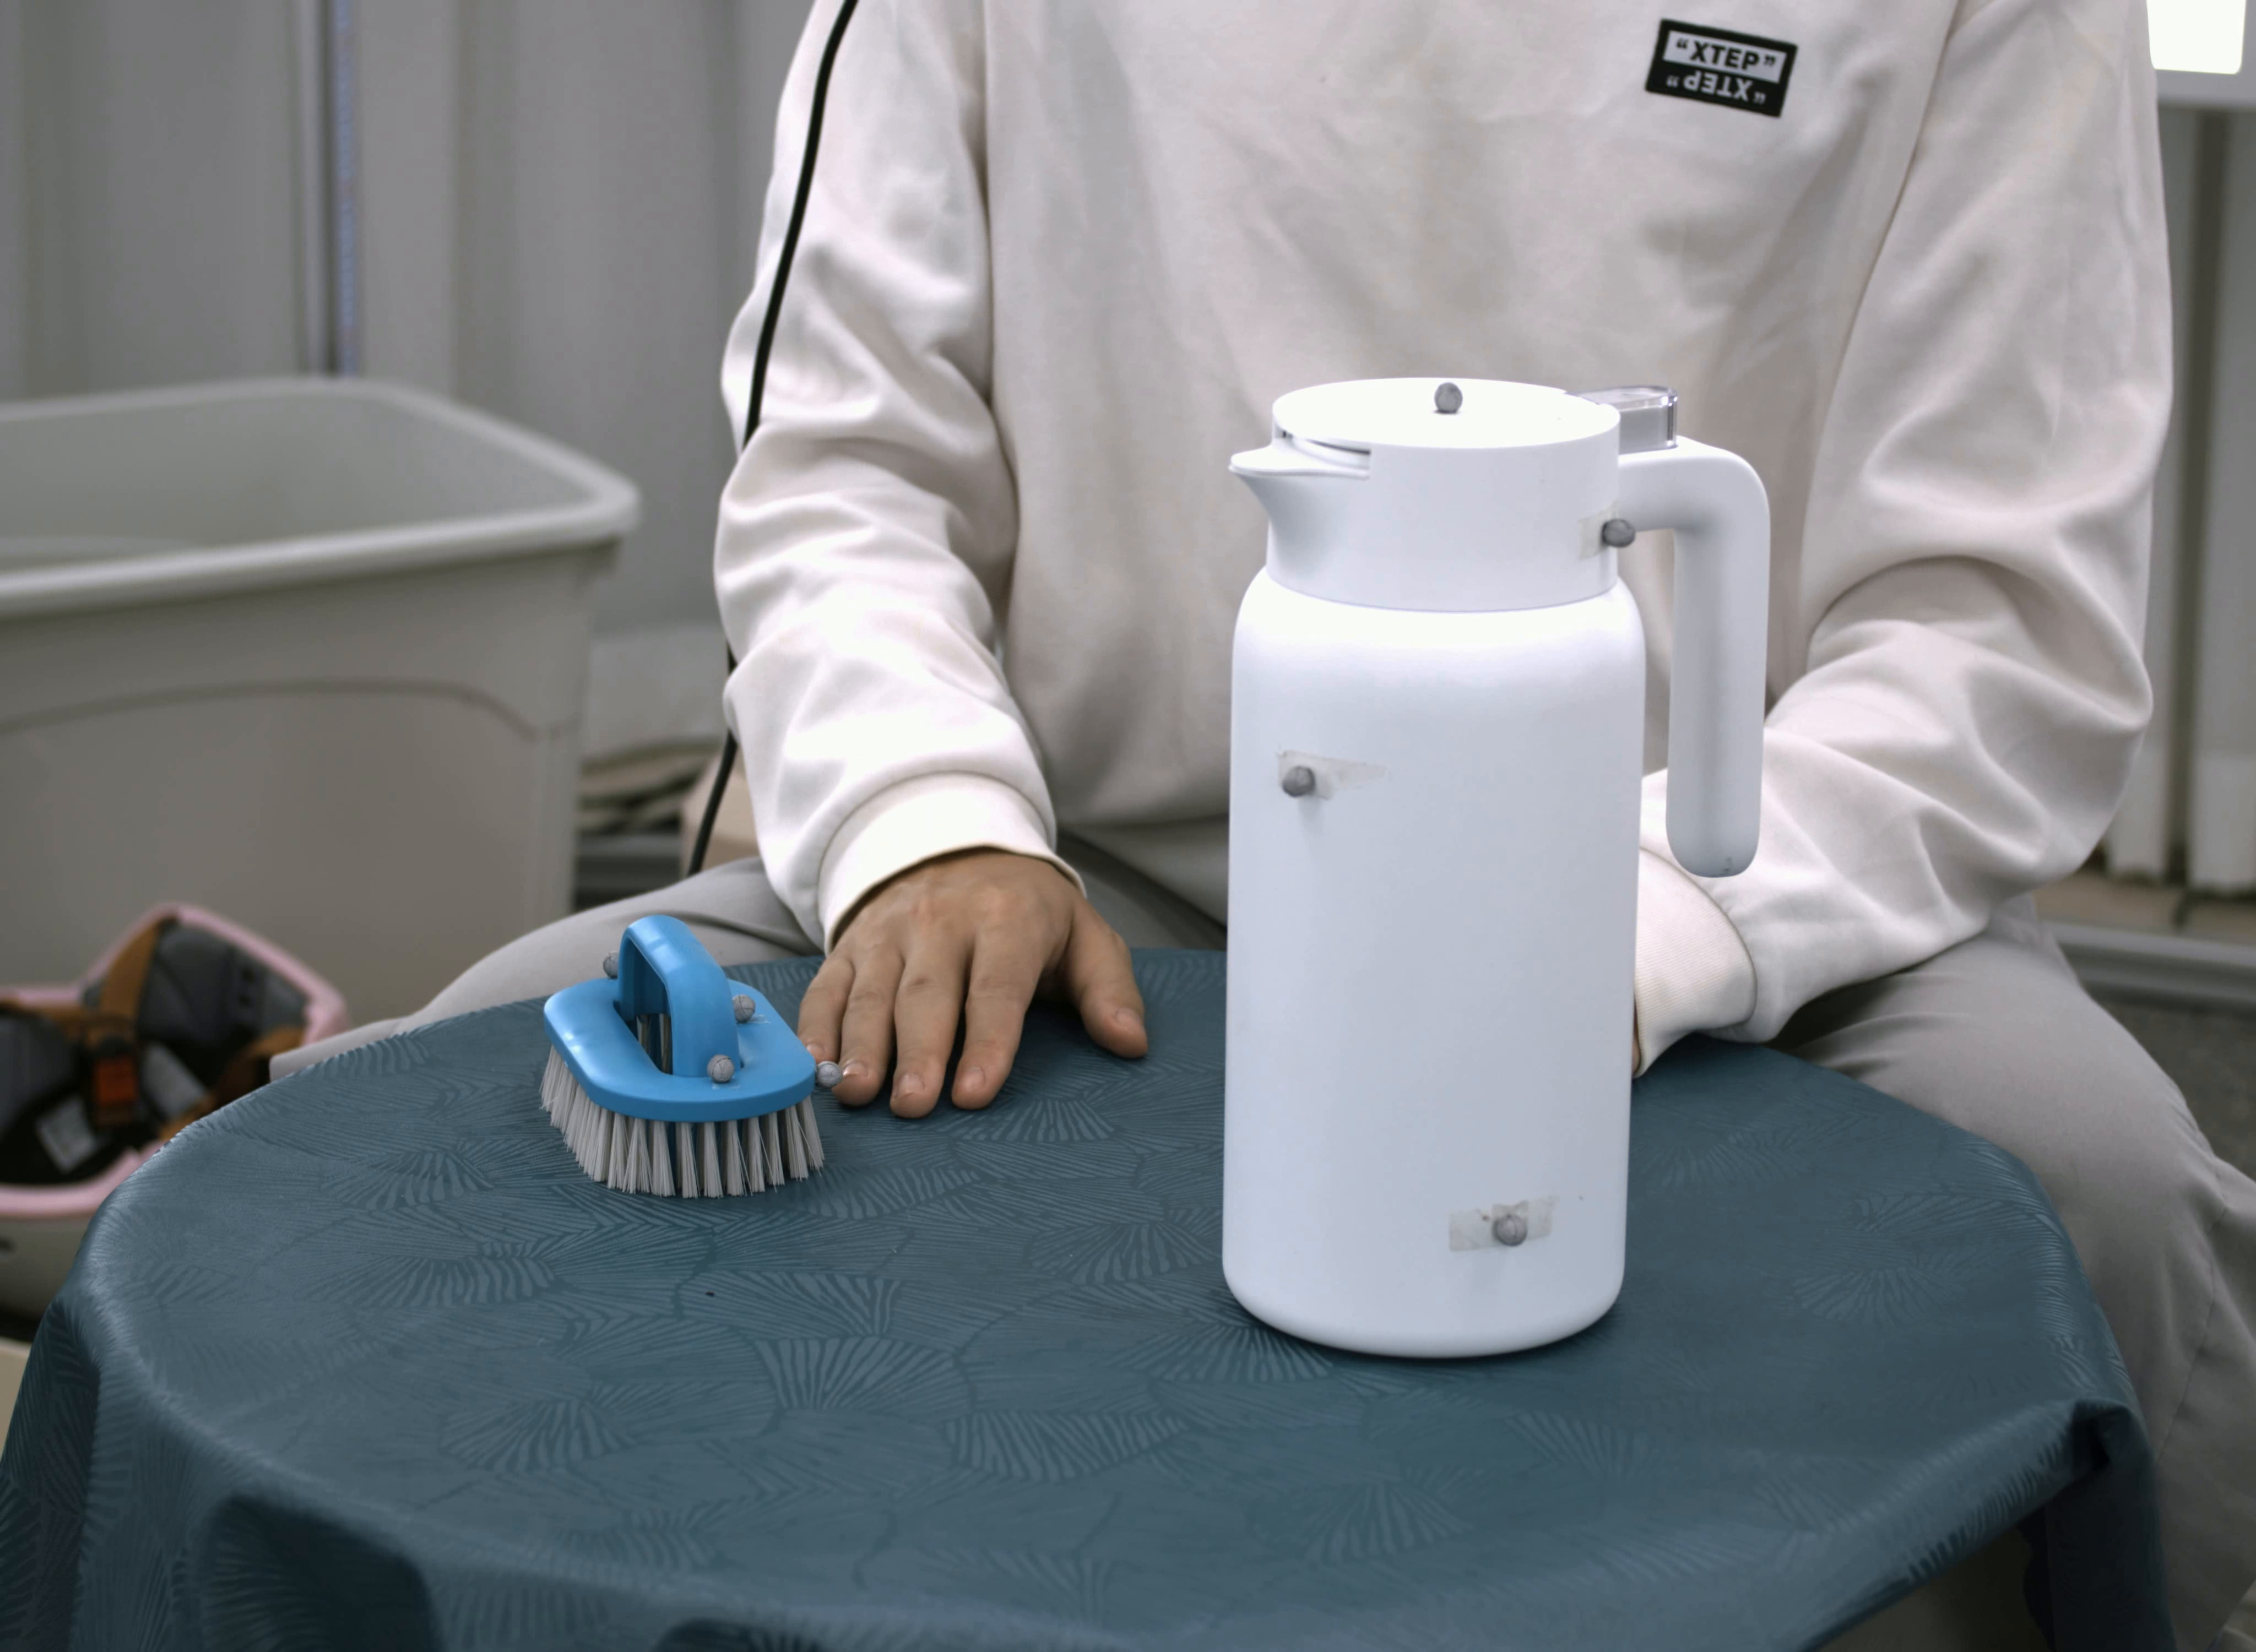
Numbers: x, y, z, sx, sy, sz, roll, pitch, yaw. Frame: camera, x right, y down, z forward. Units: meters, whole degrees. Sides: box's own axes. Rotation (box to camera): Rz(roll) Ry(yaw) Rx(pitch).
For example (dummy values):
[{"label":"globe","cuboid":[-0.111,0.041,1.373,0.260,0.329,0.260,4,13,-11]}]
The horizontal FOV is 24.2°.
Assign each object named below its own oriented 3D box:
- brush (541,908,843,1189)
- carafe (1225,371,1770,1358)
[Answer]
[{"label":"brush","cuboid":[-0.142,0.064,1.673,0.084,0.064,0.140,-9,17,-14]},{"label":"carafe","cuboid":[0.102,0.008,1.513,0.173,0.271,0.122,-8,16,-29]}]
